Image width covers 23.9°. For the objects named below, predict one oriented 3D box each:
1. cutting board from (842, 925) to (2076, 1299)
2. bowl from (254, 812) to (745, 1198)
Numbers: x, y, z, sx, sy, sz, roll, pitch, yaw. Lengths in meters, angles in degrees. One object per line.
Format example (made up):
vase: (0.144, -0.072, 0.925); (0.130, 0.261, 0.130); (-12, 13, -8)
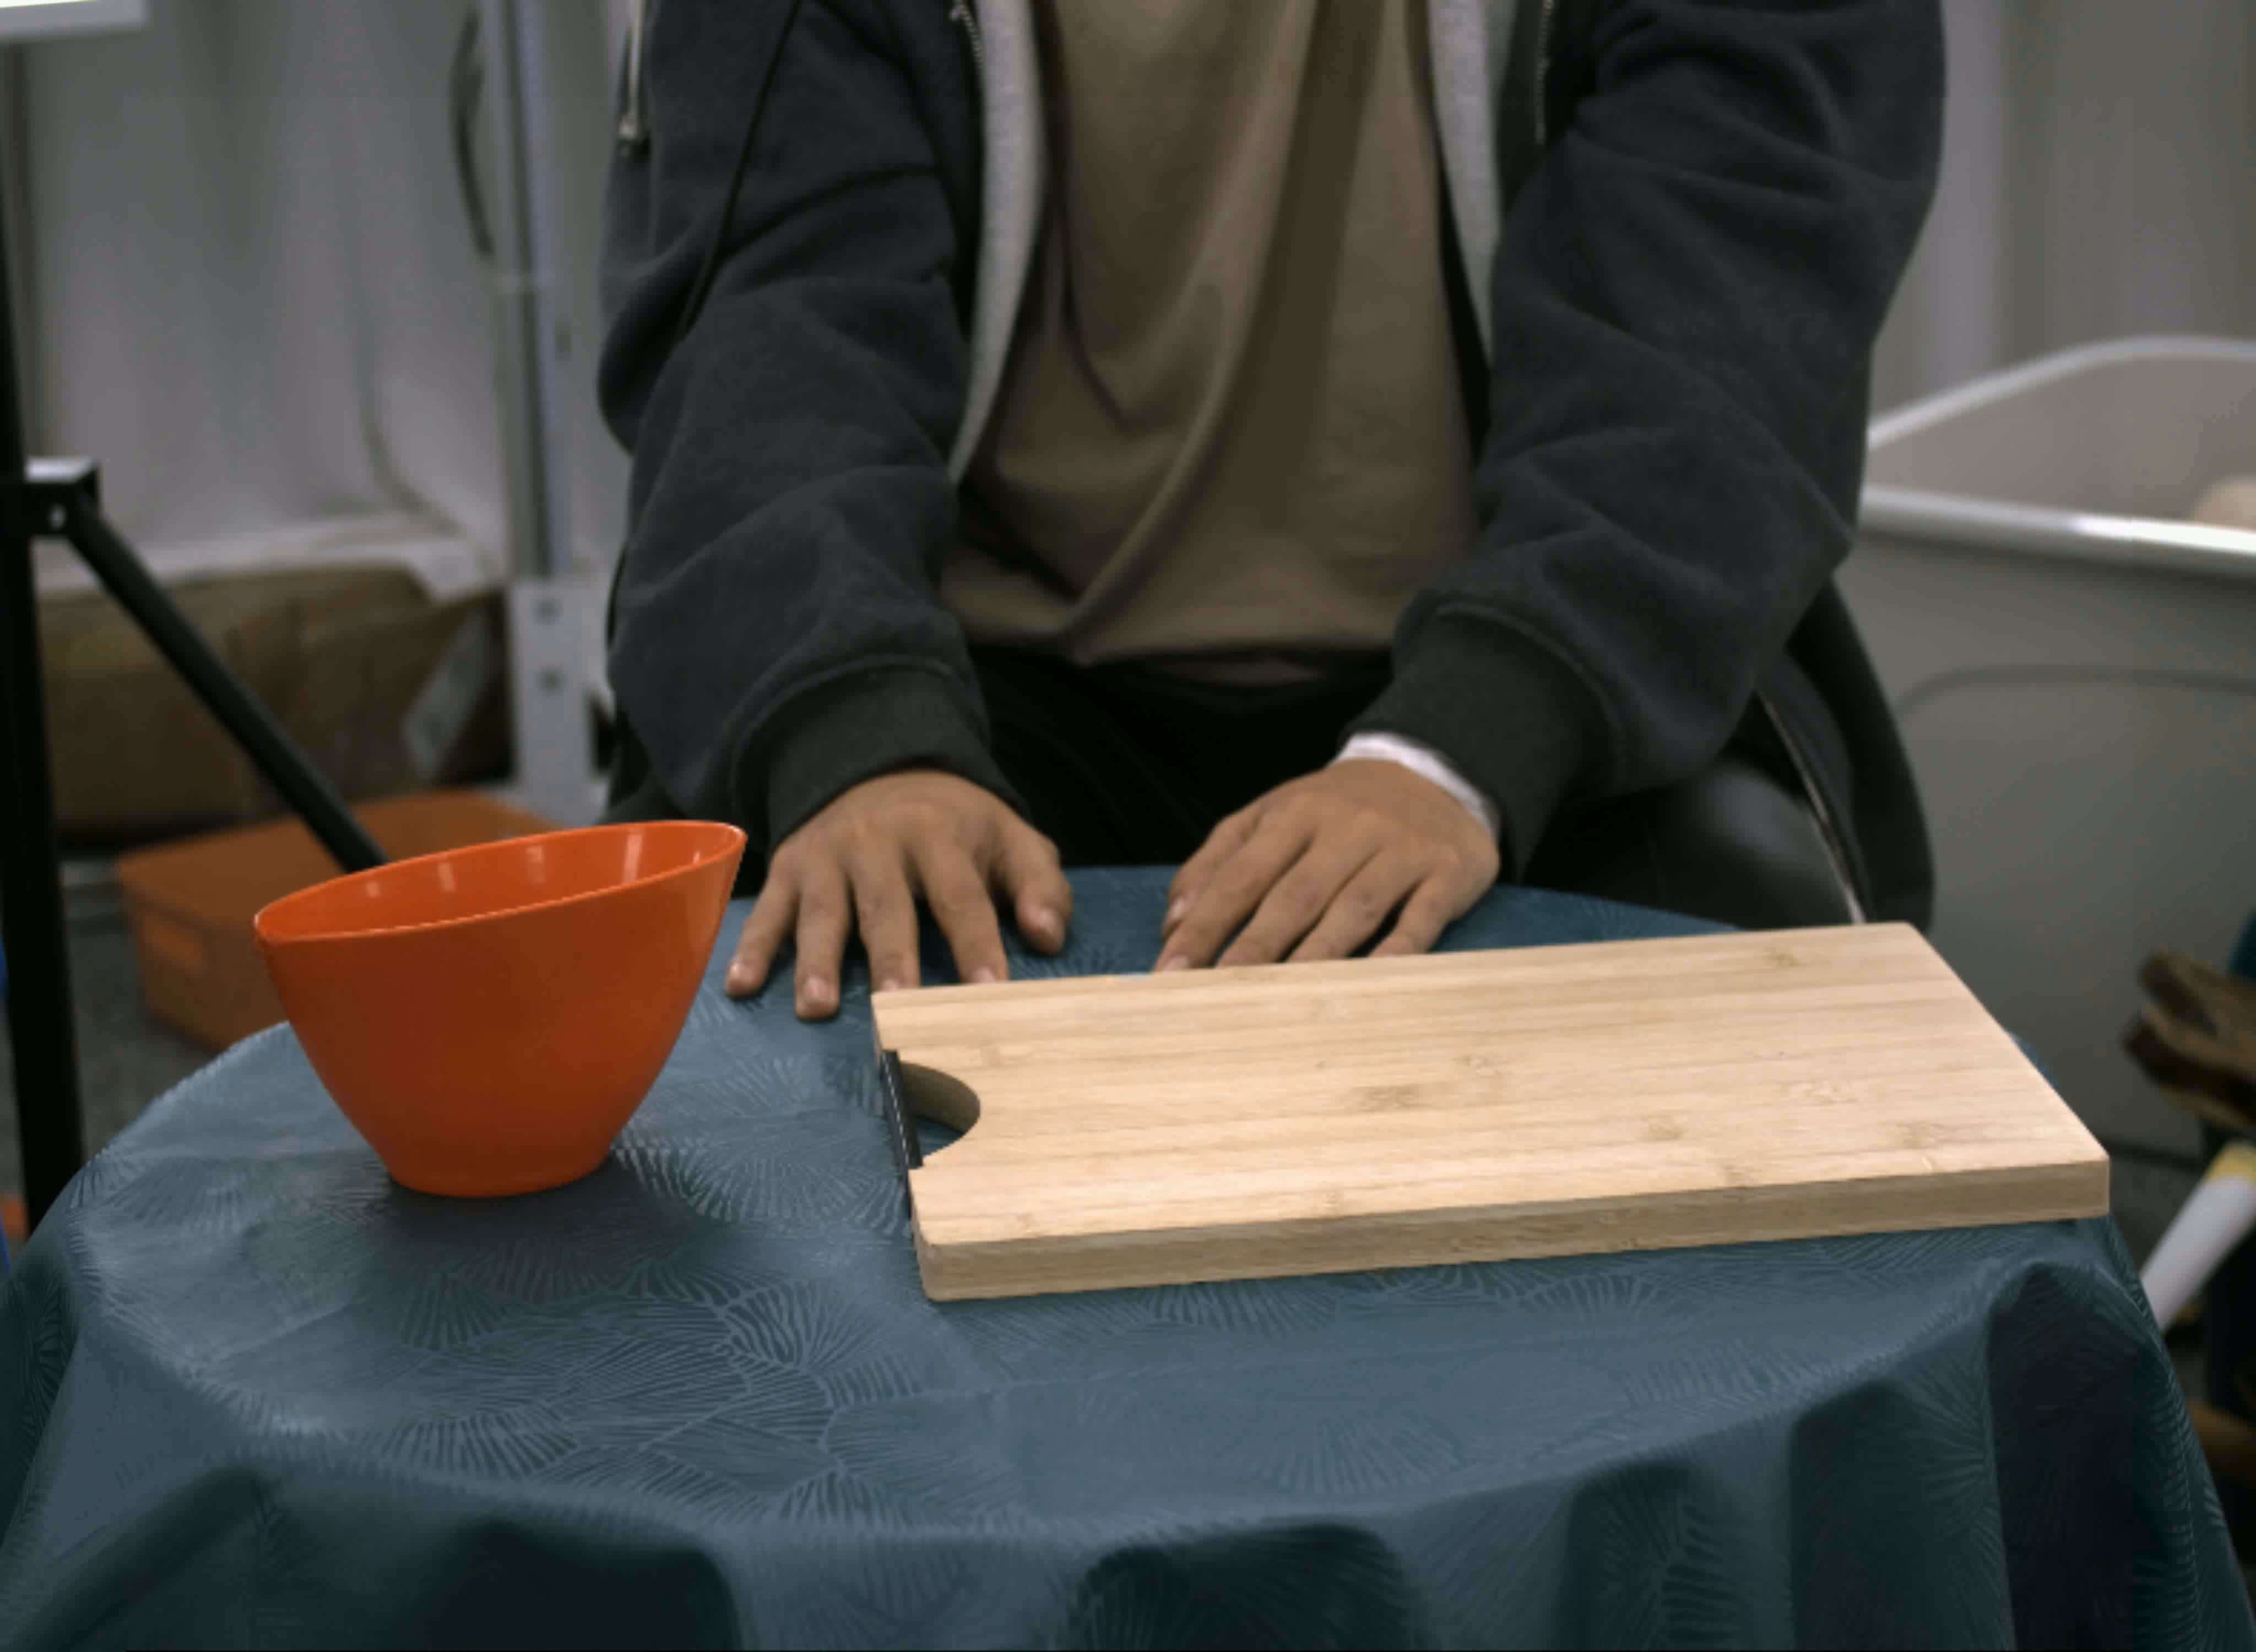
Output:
cutting board: (0.092, 0.084, 1.602); (0.346, 0.023, 0.253); (-4, 15, -4)
bowl: (-0.184, 0.054, 1.594); (0.147, 0.104, 0.149); (-4, 17, 0)
